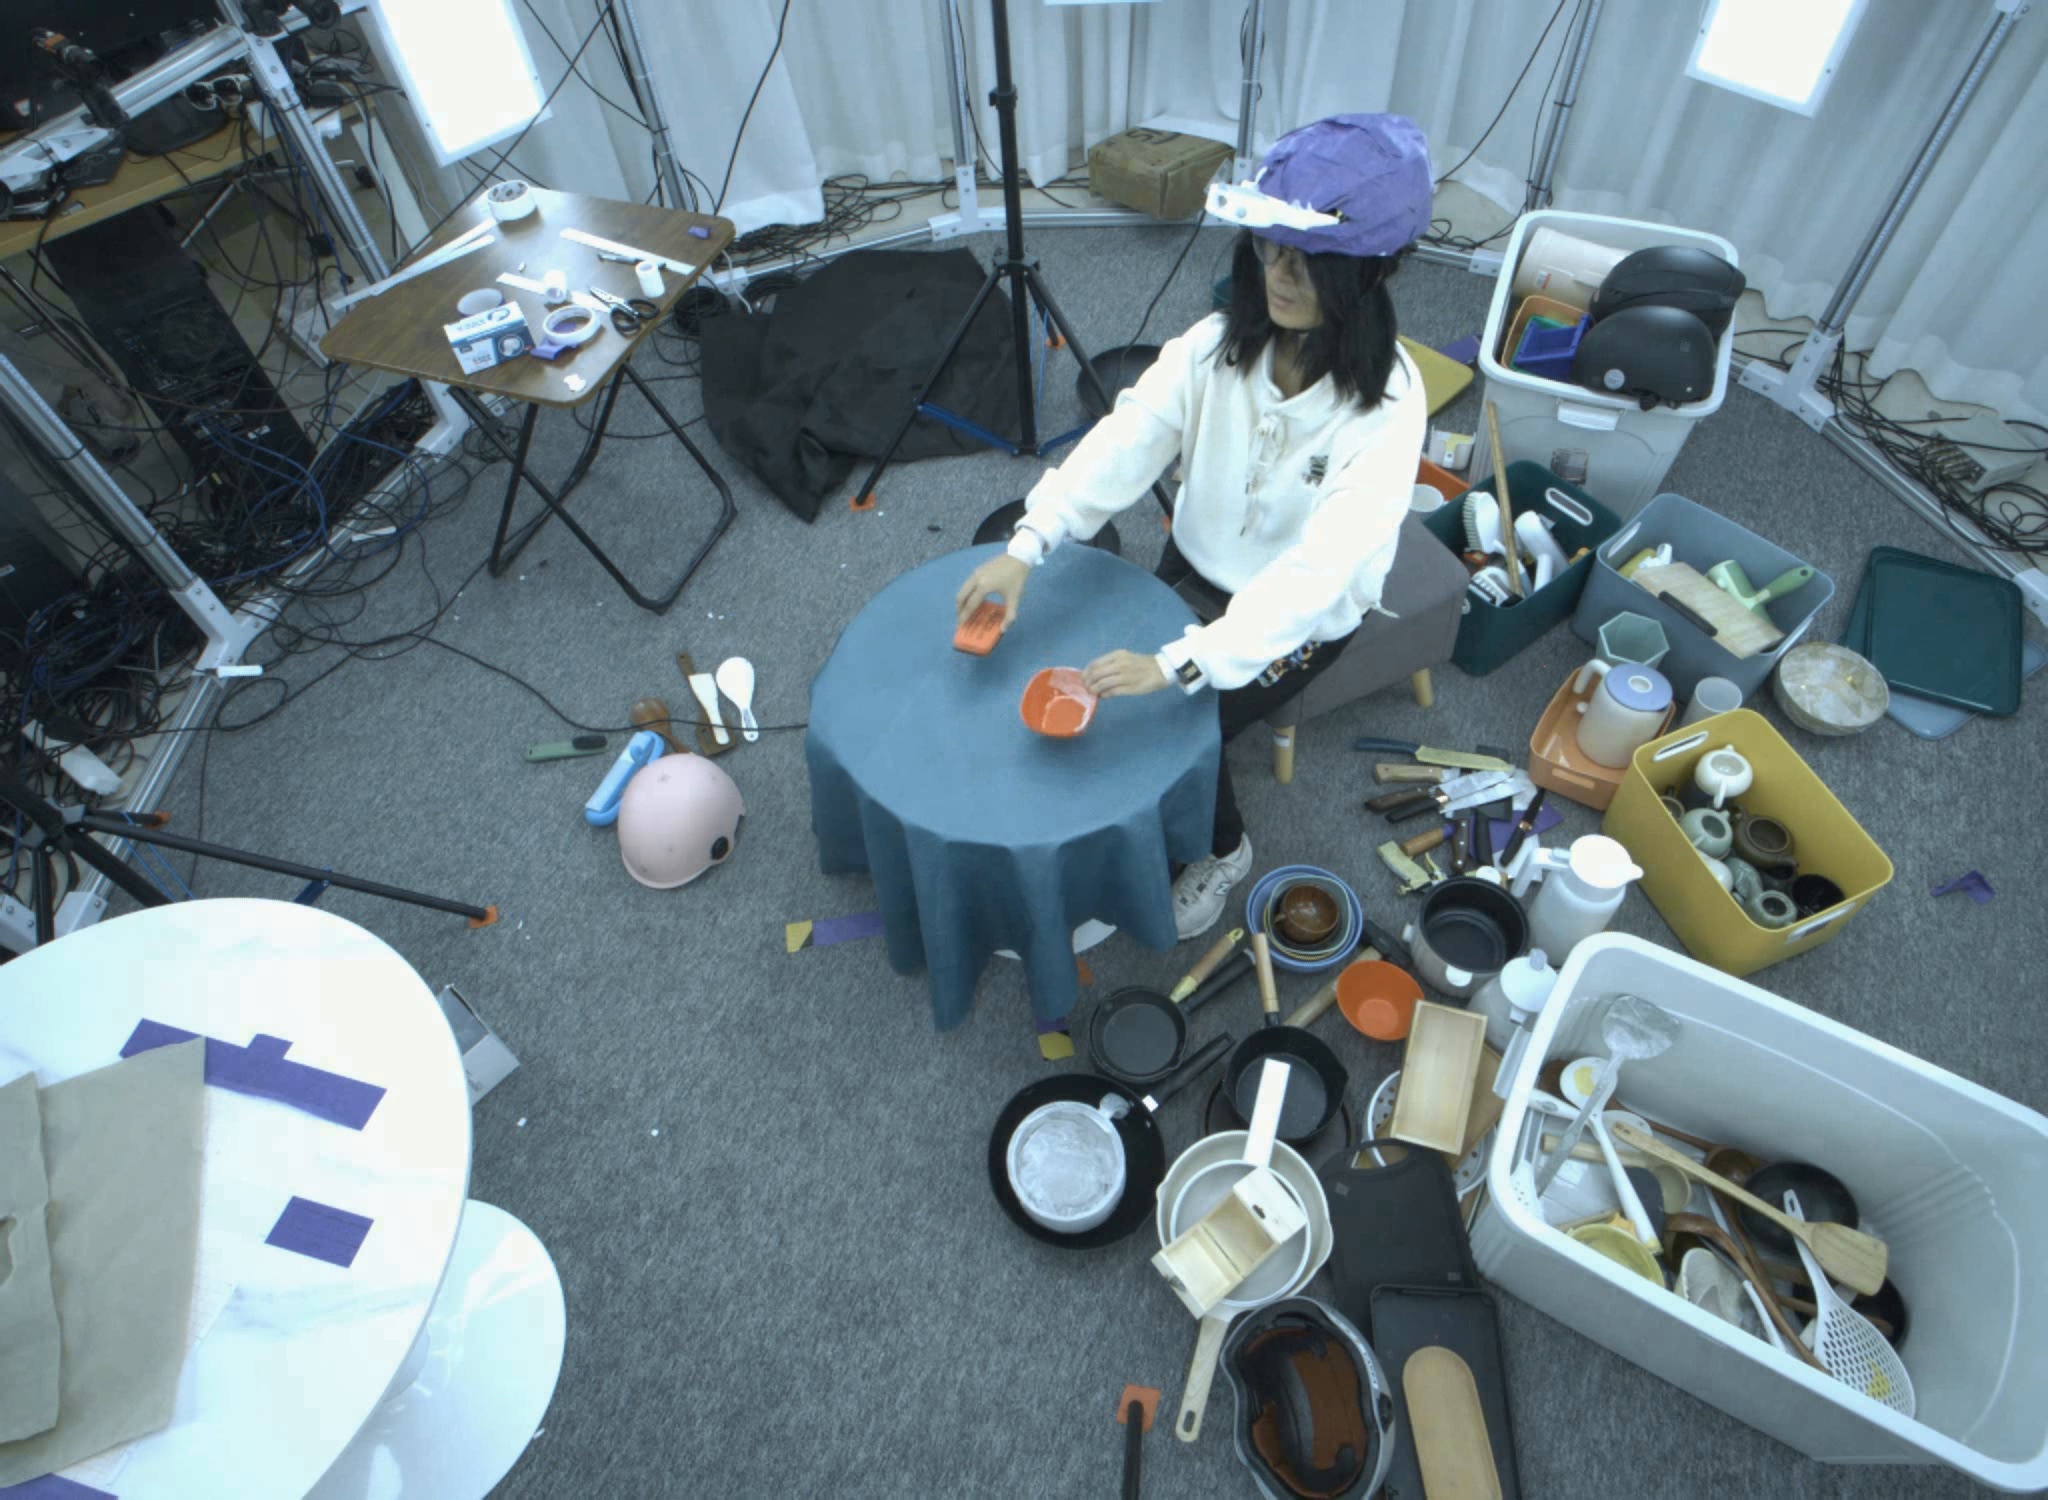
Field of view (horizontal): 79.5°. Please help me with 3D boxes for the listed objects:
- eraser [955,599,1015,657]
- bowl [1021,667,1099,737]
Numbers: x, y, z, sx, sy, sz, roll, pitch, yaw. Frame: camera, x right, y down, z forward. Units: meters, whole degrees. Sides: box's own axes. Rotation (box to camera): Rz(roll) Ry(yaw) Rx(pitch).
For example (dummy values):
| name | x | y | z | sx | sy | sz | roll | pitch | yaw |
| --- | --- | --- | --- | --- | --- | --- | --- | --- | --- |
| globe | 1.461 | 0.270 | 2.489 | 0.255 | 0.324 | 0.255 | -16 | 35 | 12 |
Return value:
| name | x | y | z | sx | sy | sz | roll | pitch | yaw |
| --- | --- | --- | --- | --- | --- | --- | --- | --- | --- |
| eraser | -0.059 | -0.184 | 1.847 | 0.058 | 0.023 | 0.108 | 16 | 46 | 16 |
| bowl | 0.056 | -0.060 | 1.757 | 0.118 | 0.052 | 0.118 | -7 | 58 | 12 |
